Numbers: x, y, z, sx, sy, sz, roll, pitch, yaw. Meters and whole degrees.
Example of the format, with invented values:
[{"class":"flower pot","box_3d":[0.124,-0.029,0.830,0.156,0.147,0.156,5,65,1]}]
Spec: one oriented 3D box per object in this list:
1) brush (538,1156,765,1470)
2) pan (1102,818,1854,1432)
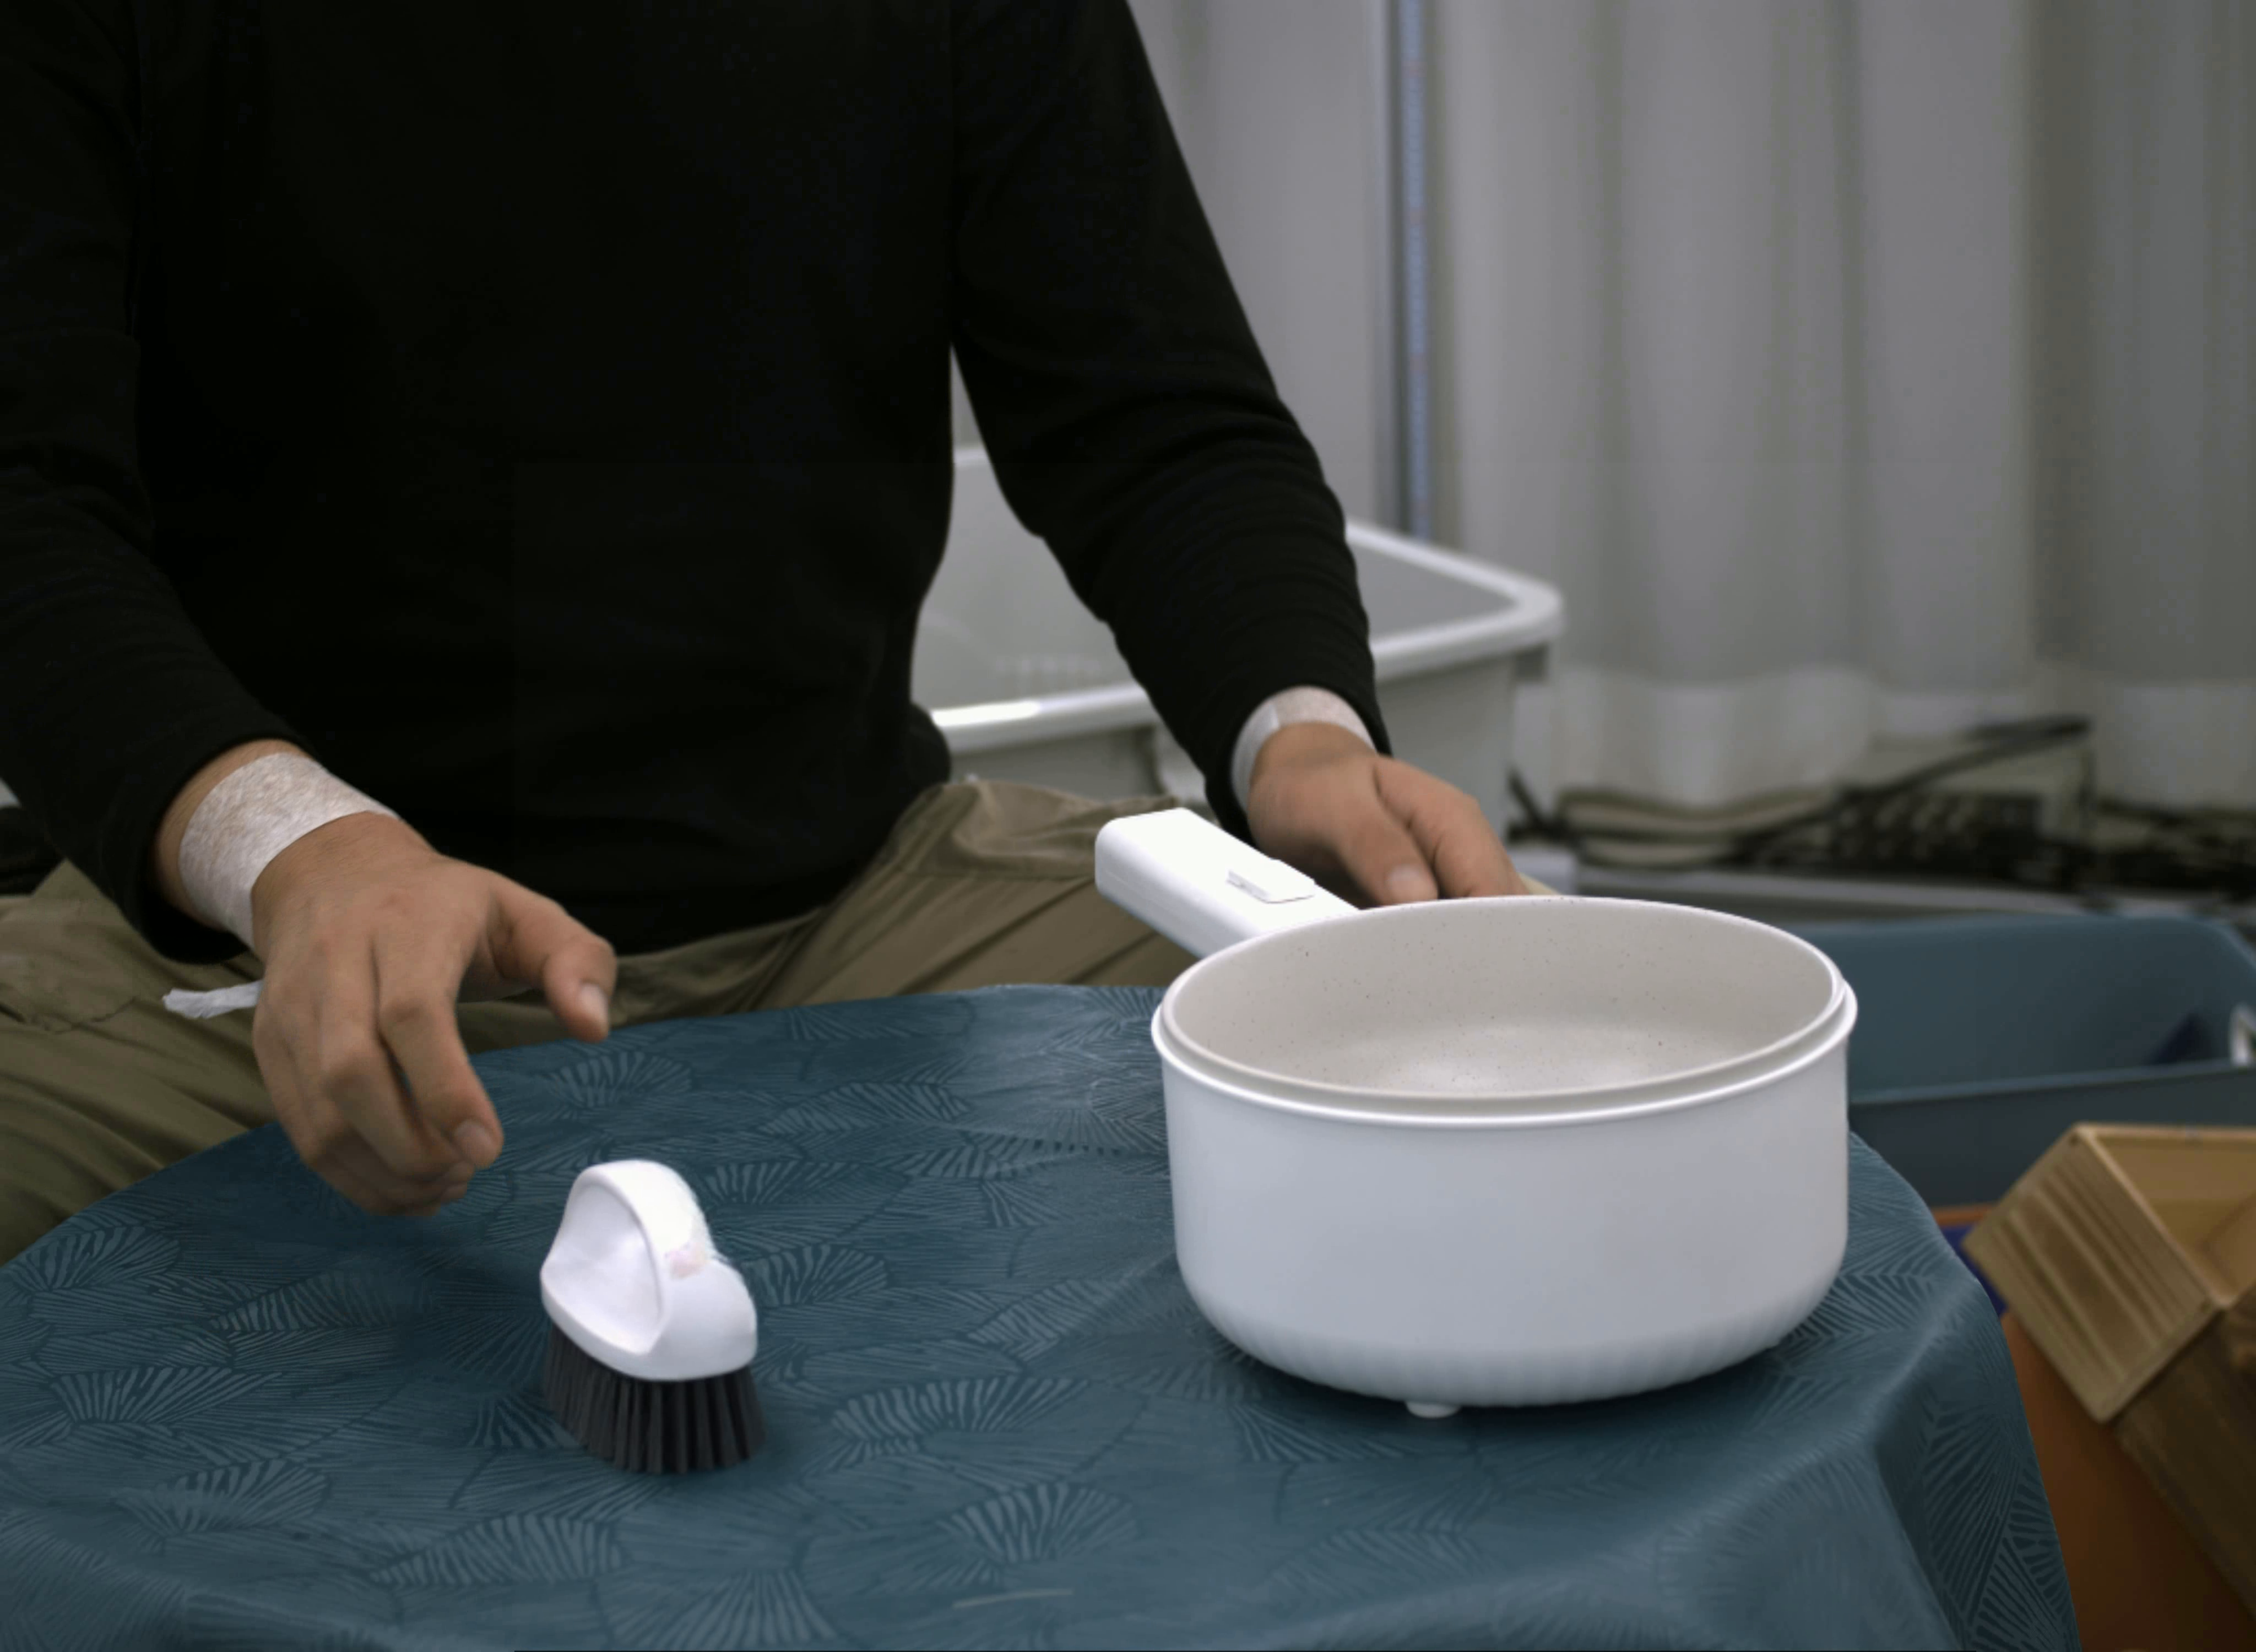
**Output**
[{"class":"brush","box_3d":[-0.136,0.131,1.536,0.050,0.072,0.100,-8,15,-21]},{"class":"pan","box_3d":[0.079,0.082,1.640,0.200,0.101,0.357,-11,16,-21]}]
